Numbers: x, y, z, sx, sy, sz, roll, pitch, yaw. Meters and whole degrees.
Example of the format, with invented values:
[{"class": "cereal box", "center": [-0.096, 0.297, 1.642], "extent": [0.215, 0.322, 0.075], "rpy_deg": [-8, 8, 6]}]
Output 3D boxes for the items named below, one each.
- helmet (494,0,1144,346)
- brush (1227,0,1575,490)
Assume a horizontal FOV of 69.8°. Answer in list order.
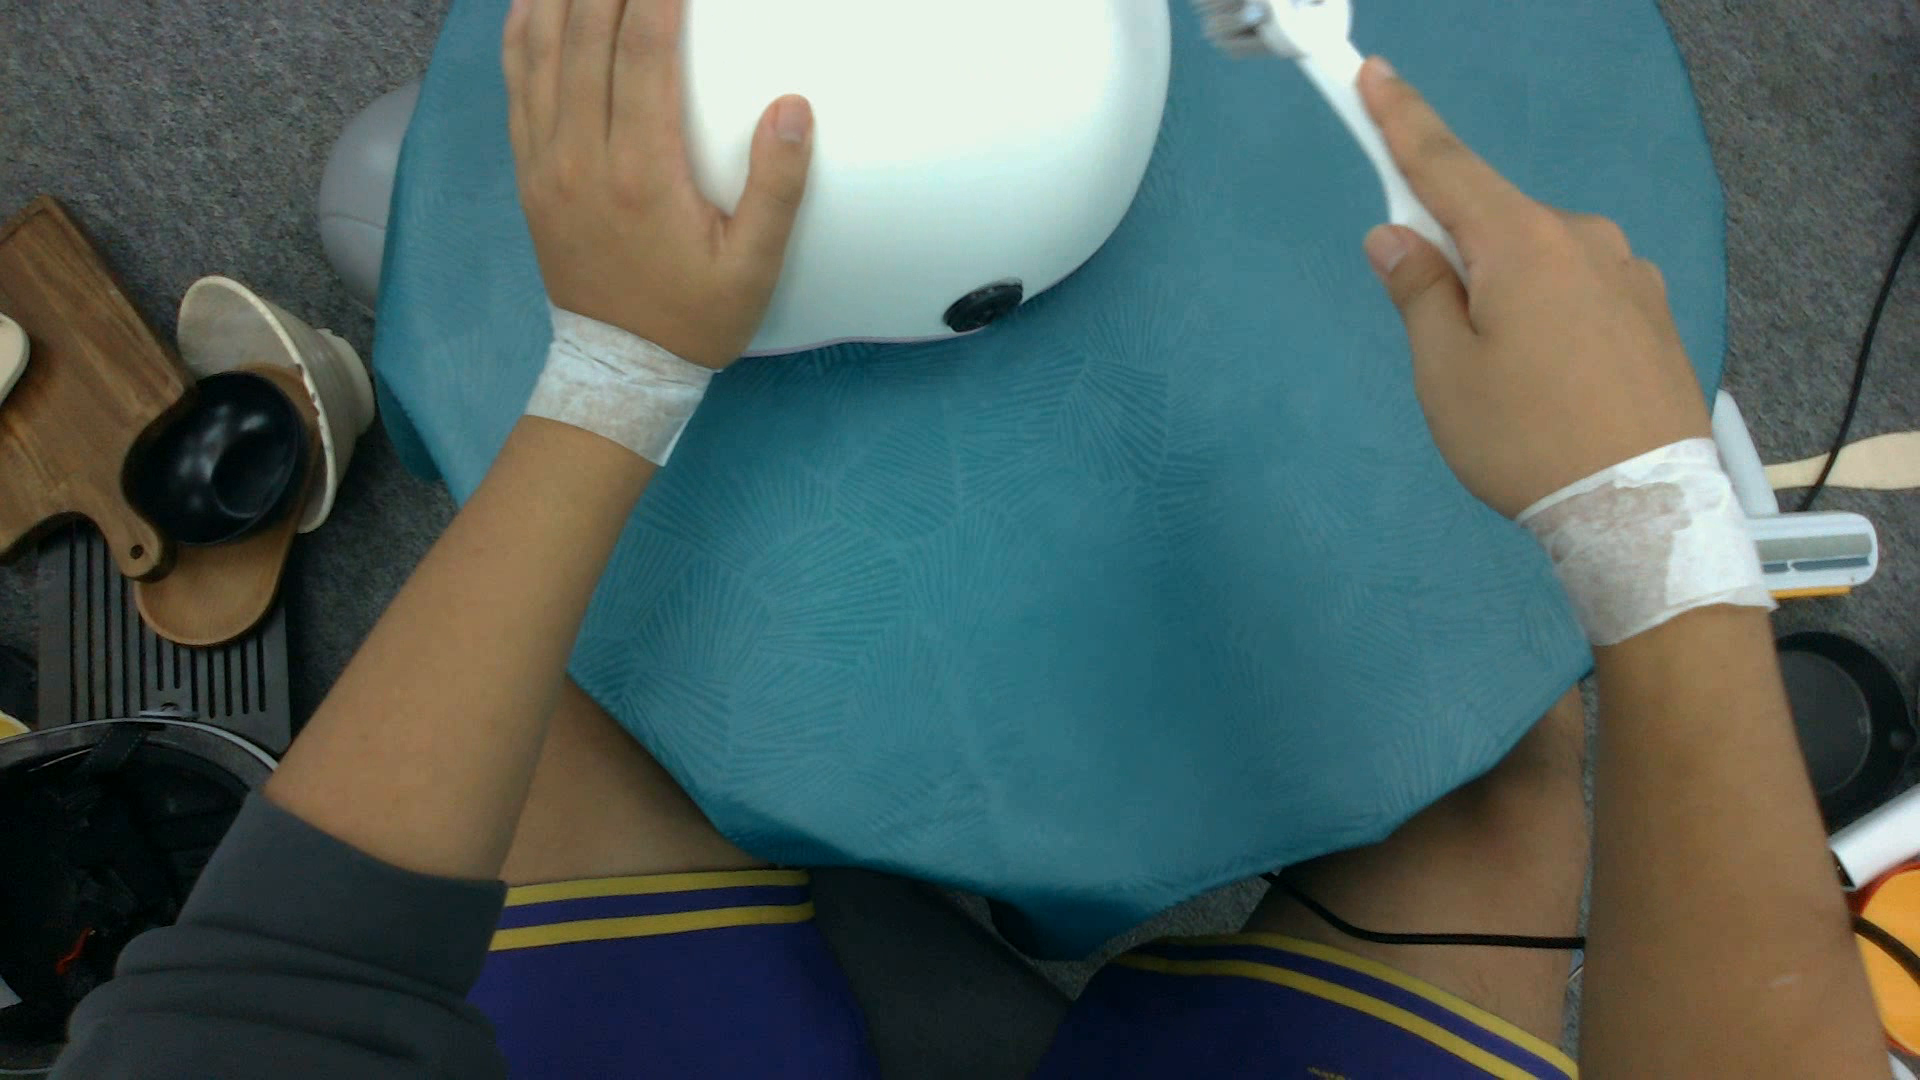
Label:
[{"class": "helmet", "center": [-0.051, -0.208, 0.541], "extent": [0.269, 0.166, 0.237], "rpy_deg": [-15, 82, -7]}, {"class": "brush", "center": [0.138, -0.127, 0.459], "extent": [0.034, 0.050, 0.244], "rpy_deg": [-18, 86, -29]}]
